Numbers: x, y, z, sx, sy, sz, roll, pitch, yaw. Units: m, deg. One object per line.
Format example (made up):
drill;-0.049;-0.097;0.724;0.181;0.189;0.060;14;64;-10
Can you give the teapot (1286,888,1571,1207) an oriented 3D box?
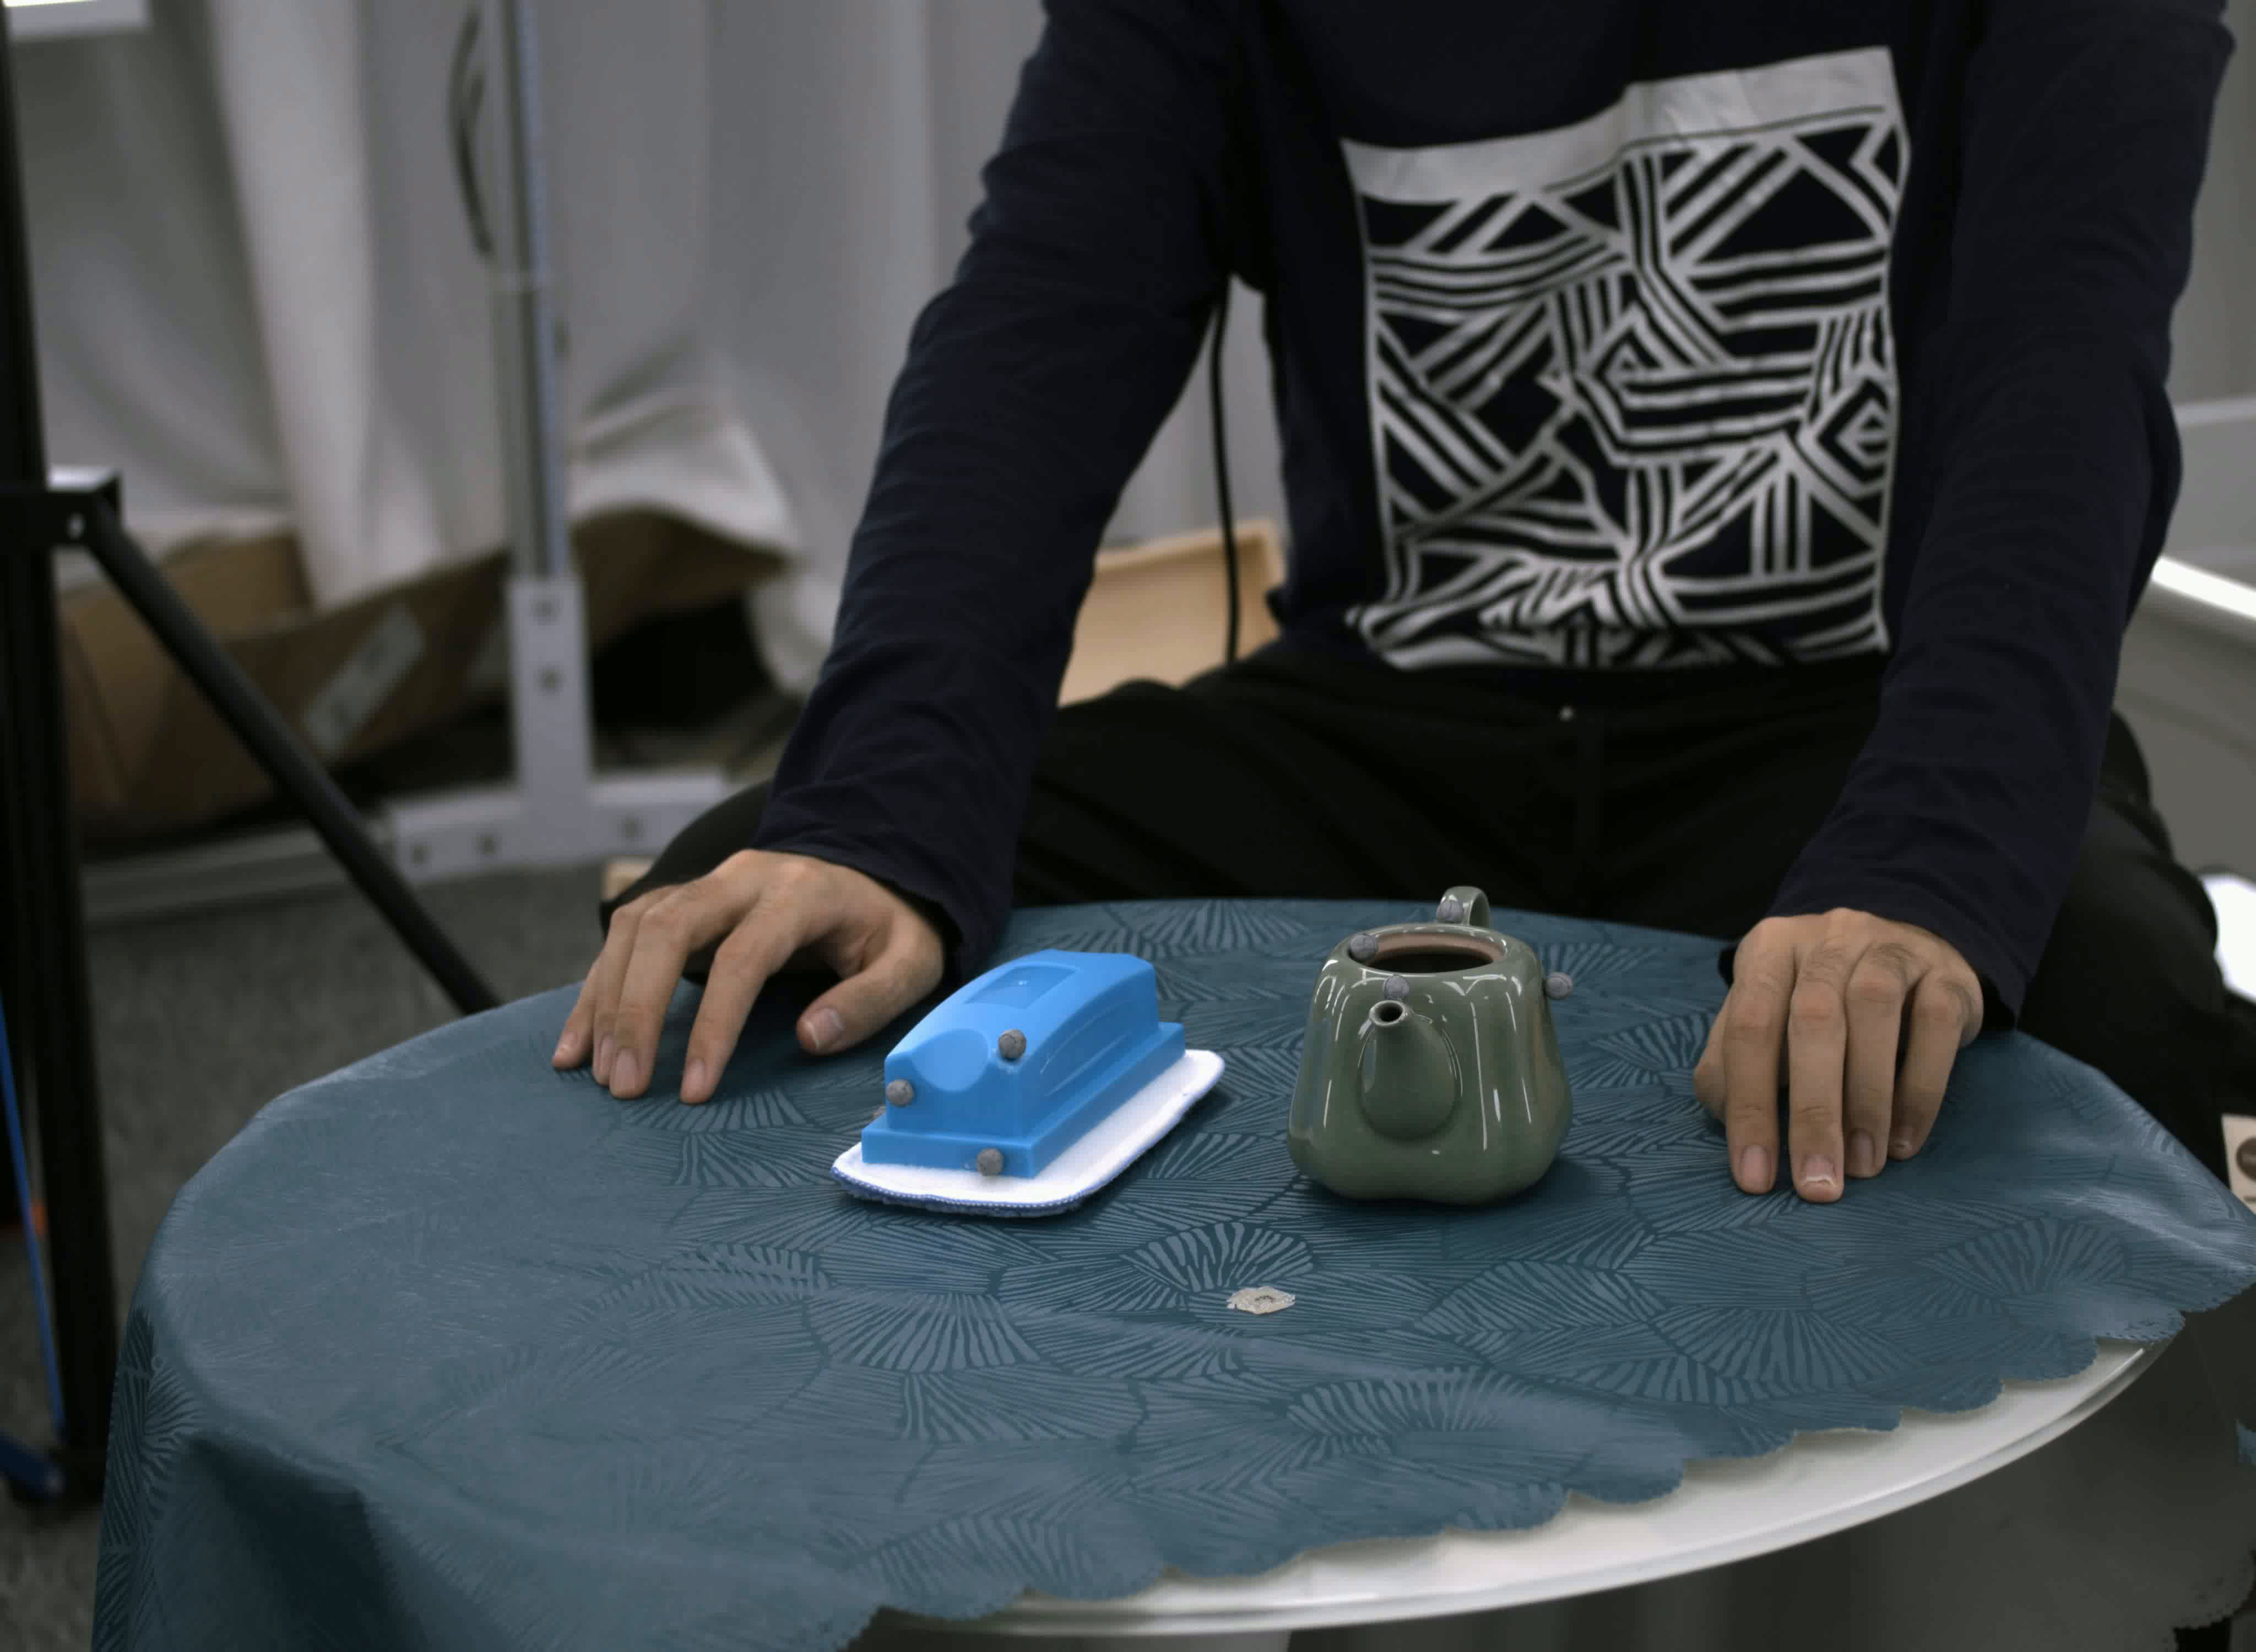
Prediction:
teapot;0.089;0.068;1.554;0.080;0.075;0.131;2;15;15

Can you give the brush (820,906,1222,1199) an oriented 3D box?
brush;-0.030;0.064;1.607;0.085;0.056;0.142;9;22;23
